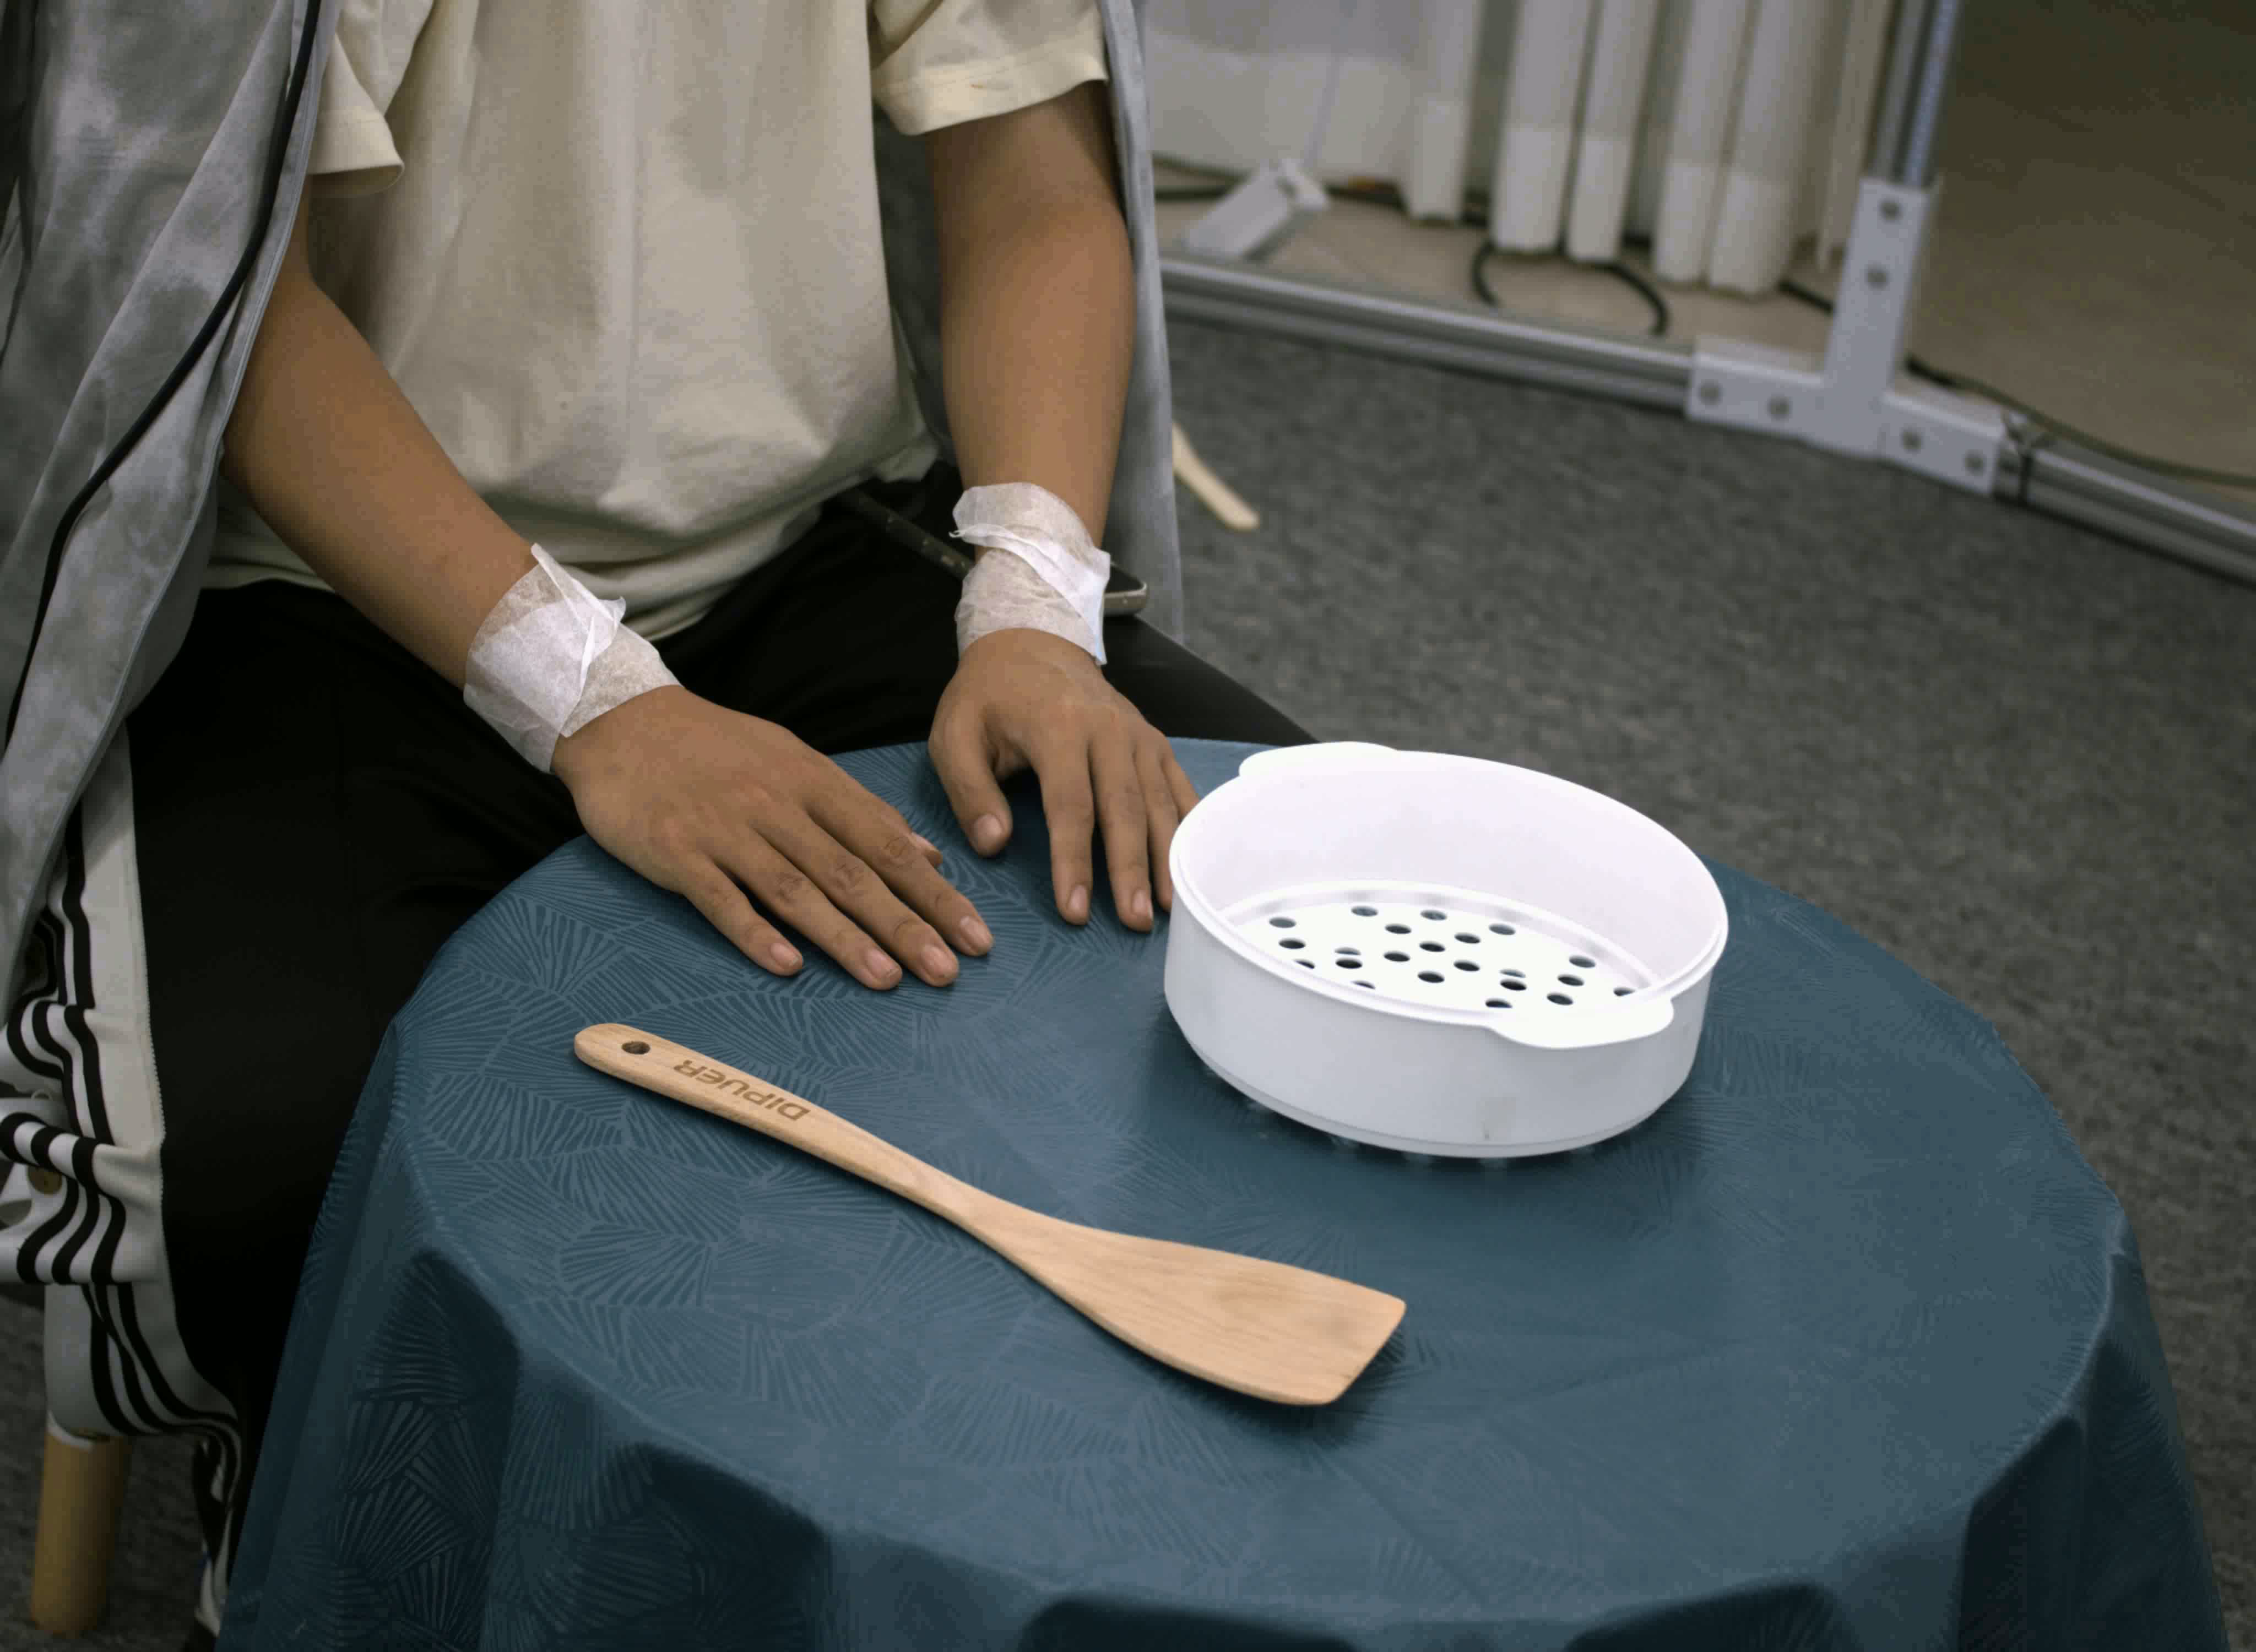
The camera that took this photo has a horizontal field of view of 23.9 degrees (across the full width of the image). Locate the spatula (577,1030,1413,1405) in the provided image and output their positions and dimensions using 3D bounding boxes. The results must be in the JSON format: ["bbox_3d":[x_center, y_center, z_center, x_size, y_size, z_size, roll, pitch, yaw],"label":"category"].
[{"bbox_3d":[-0.051,0.124,1.774,0.329,0.016,0.080,21,29,27],"label":"spatula"}]

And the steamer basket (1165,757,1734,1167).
[{"bbox_3d":[0.113,0.050,1.903,0.200,0.069,0.232,-5,28,-25],"label":"steamer basket"}]
